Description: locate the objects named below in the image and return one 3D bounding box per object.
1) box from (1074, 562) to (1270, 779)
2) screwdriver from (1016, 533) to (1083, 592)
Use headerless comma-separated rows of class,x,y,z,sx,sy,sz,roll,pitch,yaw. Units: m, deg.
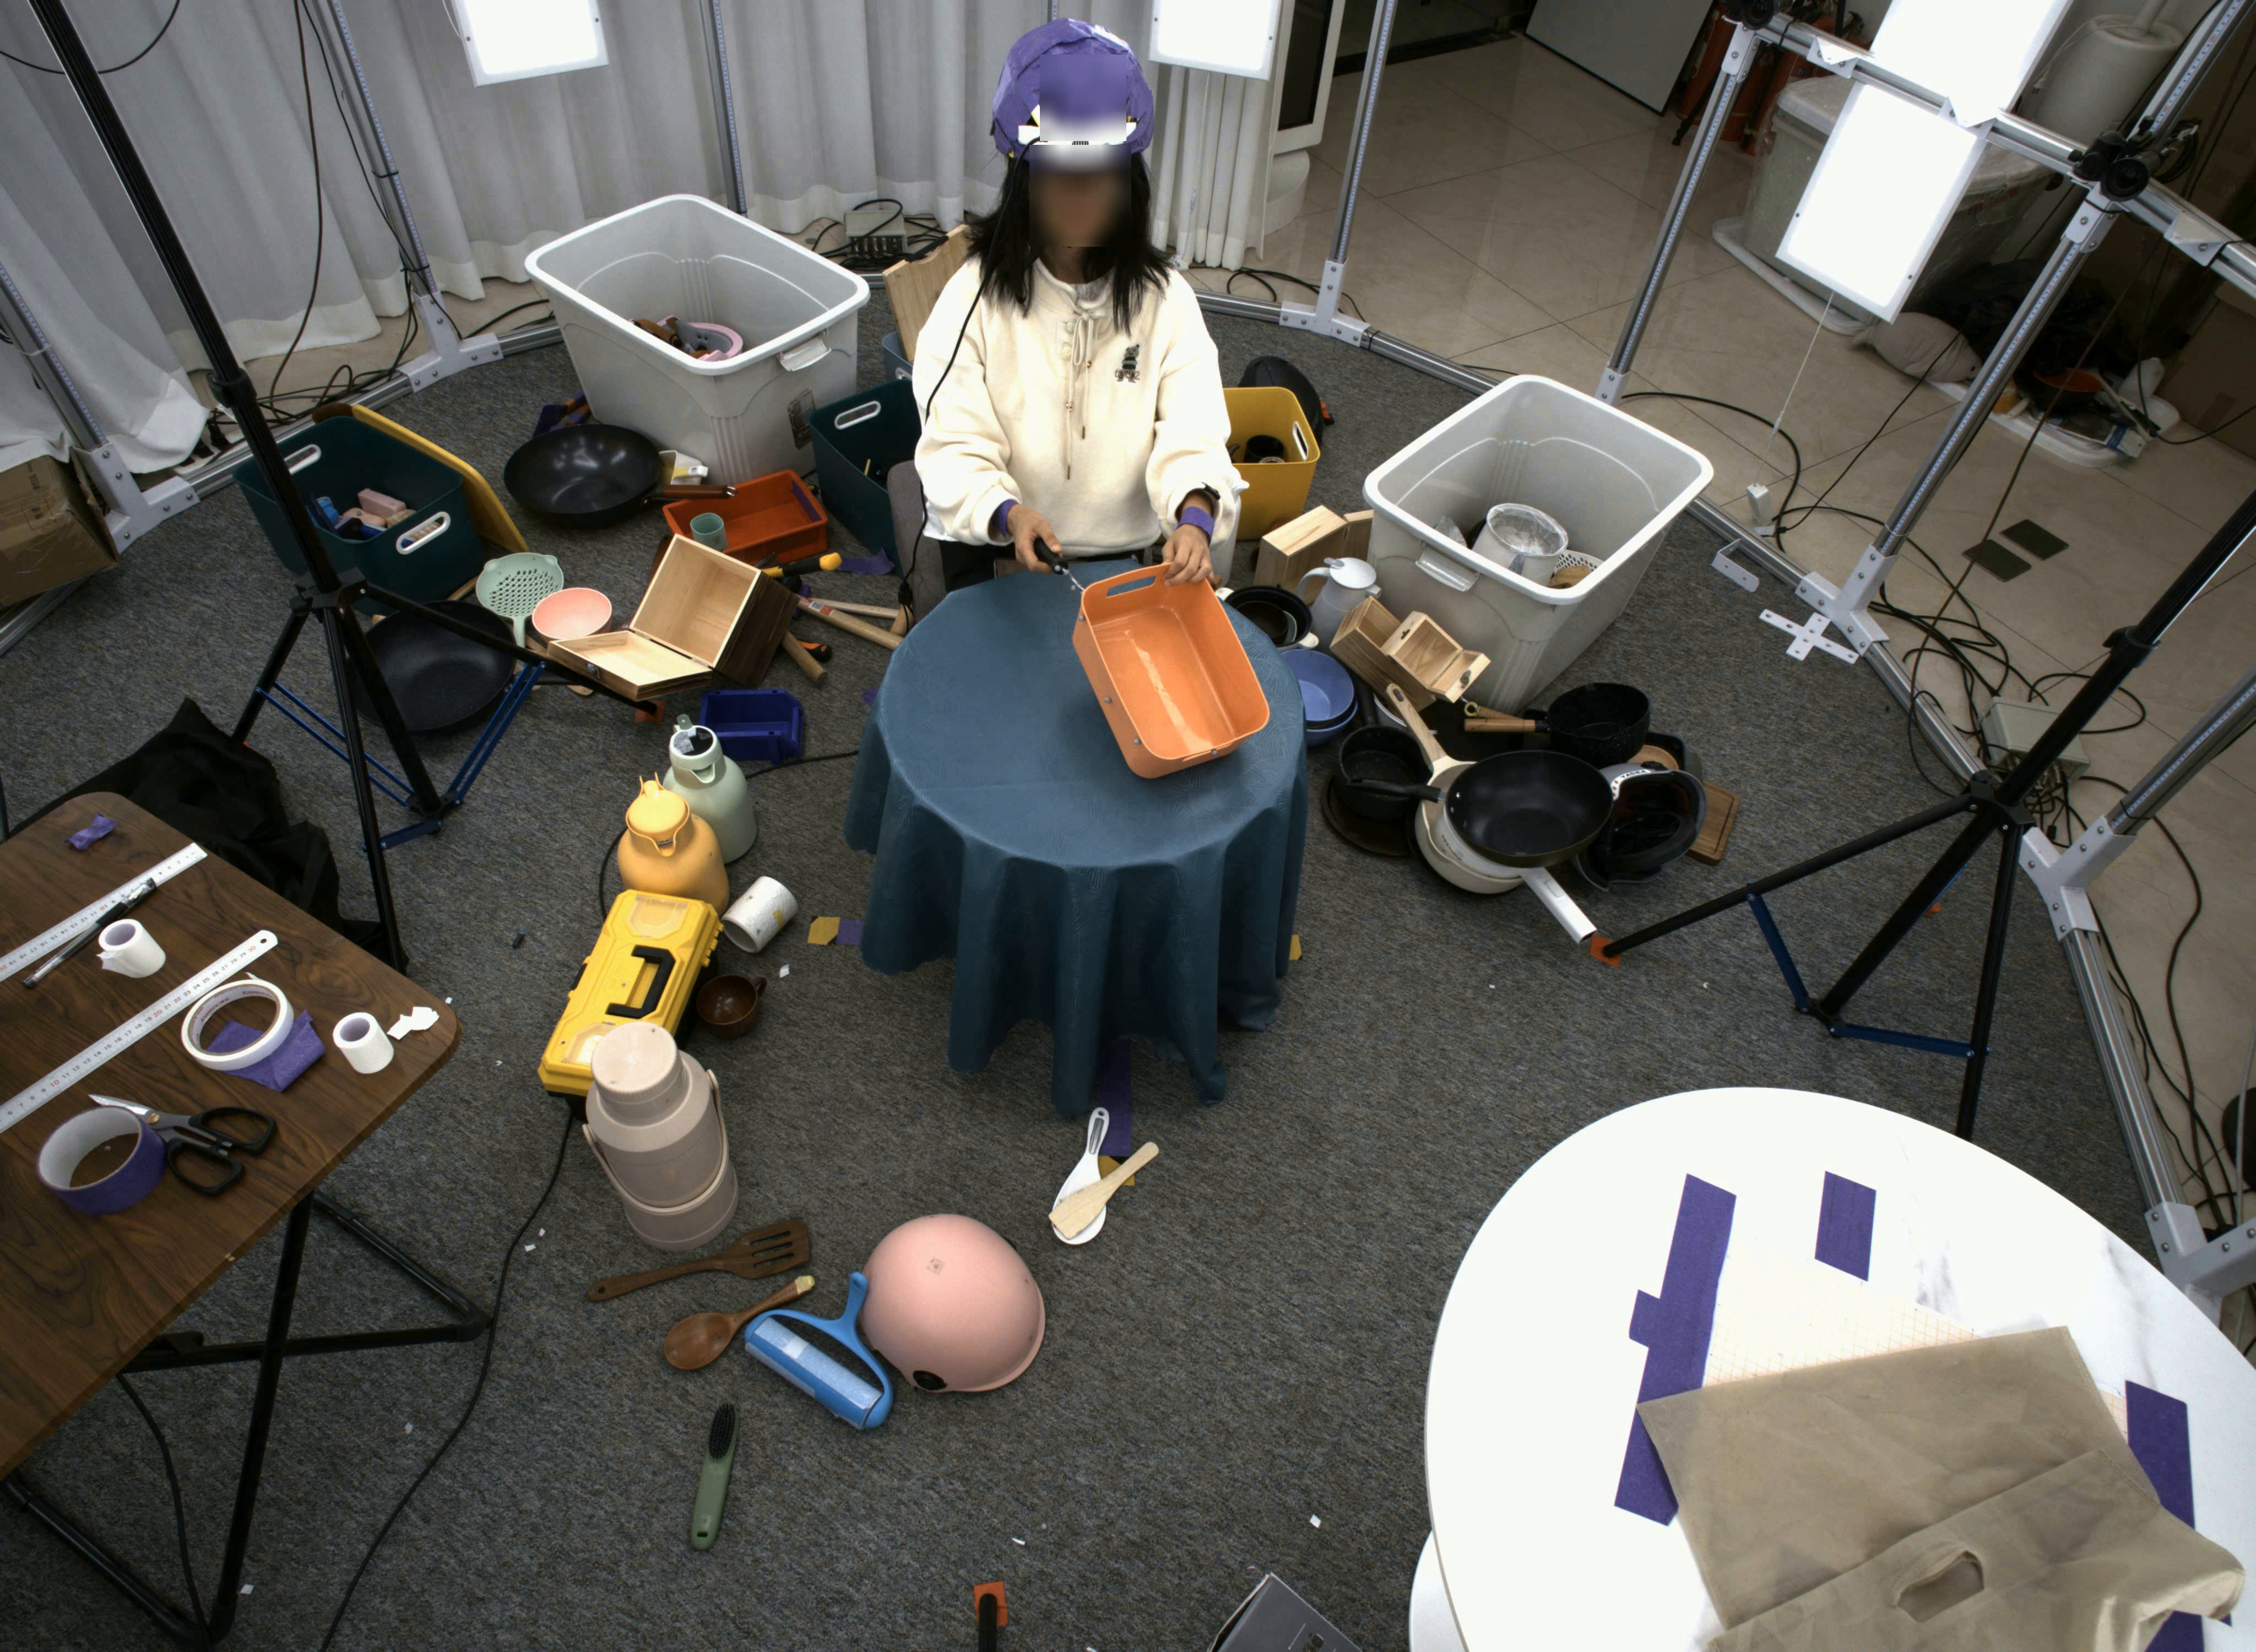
box,0.052,-0.206,1.735,0.200,0.101,0.276,-19,74,-20
screwdriver,-0.107,-0.372,1.809,0.031,0.031,0.202,-21,37,-21
